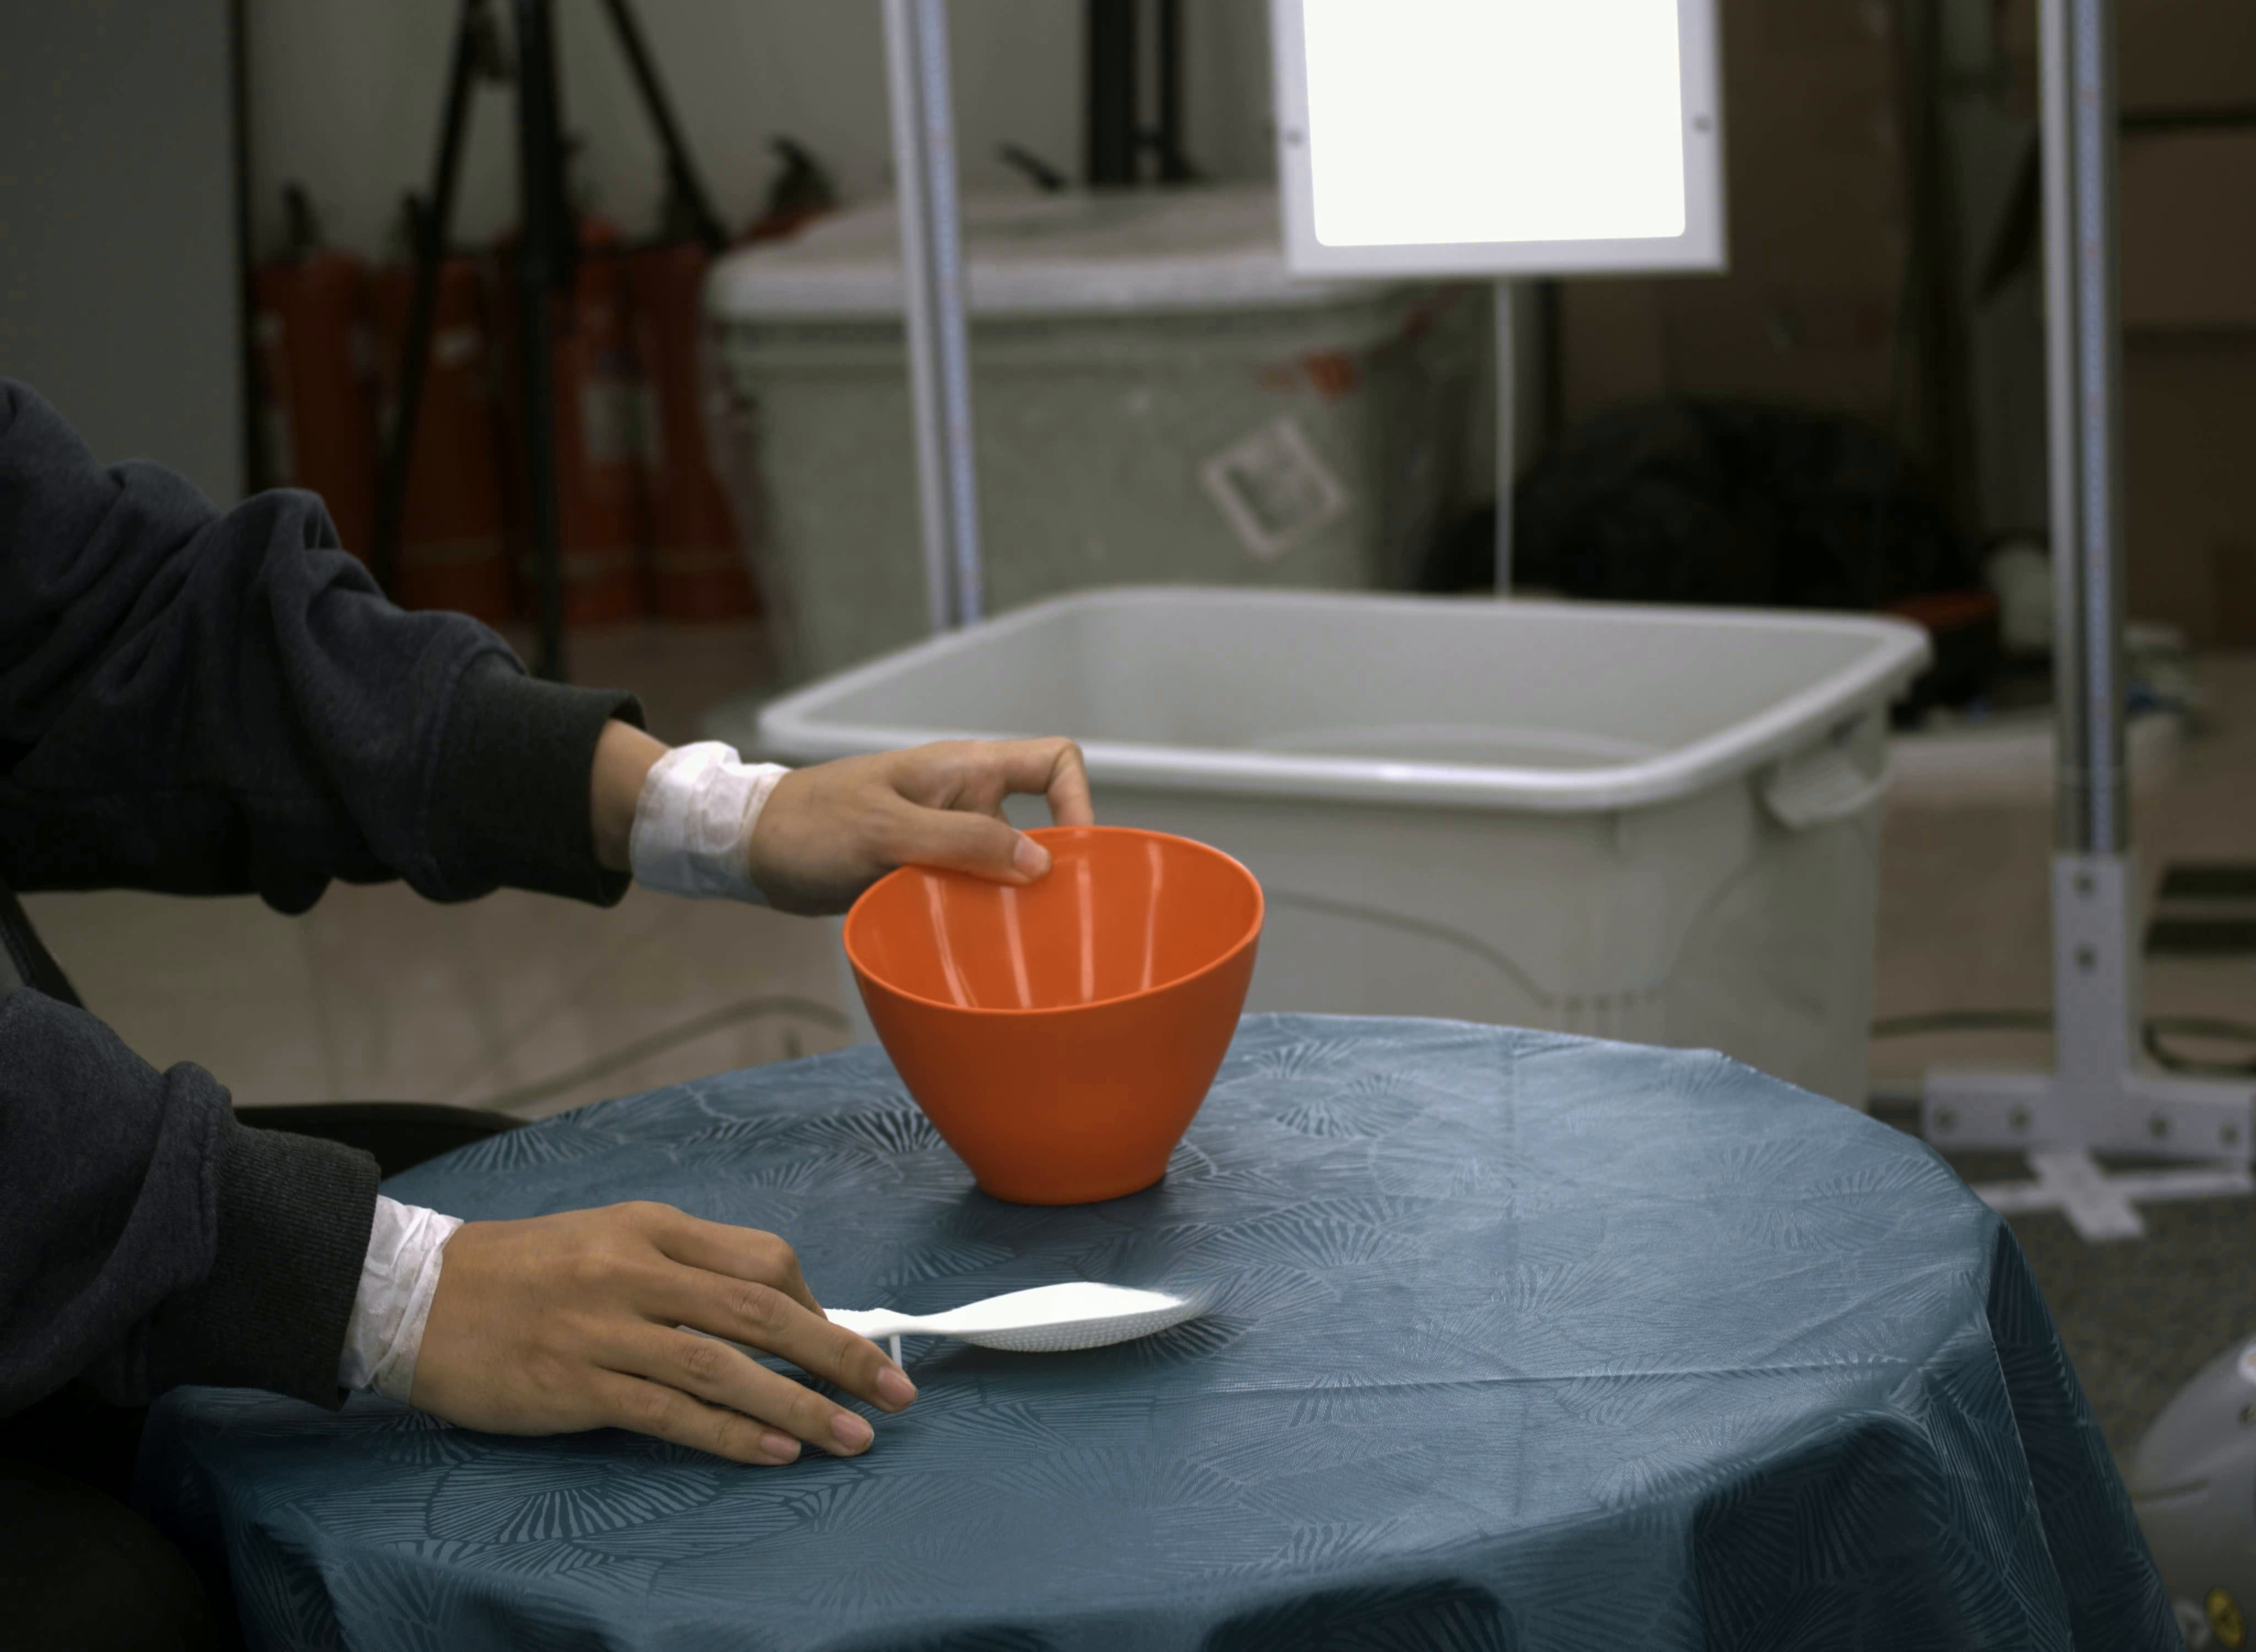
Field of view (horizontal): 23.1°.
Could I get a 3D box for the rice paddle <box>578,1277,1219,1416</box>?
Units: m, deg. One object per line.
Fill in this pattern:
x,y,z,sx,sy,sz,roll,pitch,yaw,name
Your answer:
-0.070,0.156,1.734,0.203,0.029,0.069,-7,6,-11,rice paddle

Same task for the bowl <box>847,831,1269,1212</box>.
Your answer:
-0.022,0.072,1.918,0.147,0.105,0.148,-5,15,0,bowl
